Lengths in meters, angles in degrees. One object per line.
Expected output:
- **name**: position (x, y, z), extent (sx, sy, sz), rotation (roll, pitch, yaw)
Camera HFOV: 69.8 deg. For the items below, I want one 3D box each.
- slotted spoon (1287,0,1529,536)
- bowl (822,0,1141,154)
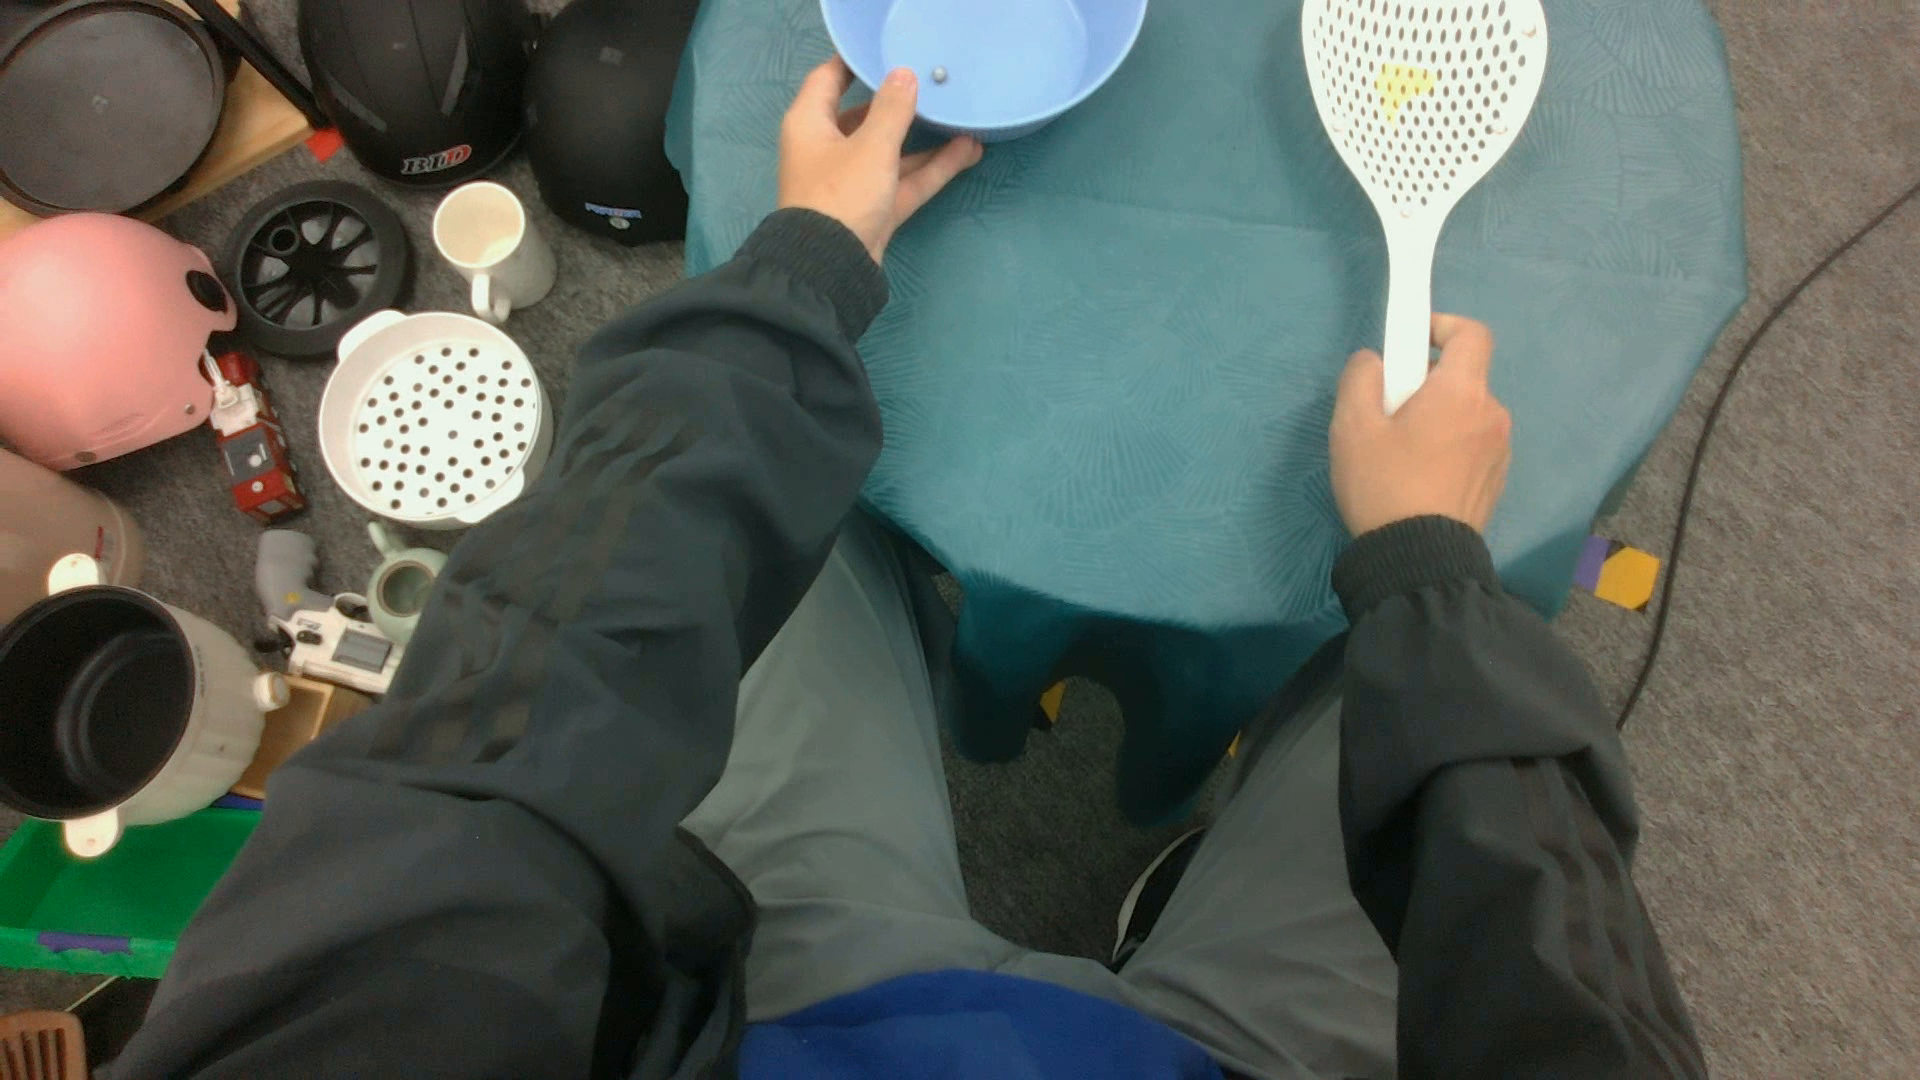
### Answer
- **slotted spoon**: position (0.241, -0.175, 0.755), extent (0.137, 0.050, 0.349), rotation (5, 72, -1)
- **bowl**: position (0.013, -0.289, 0.784), extent (0.176, 0.070, 0.176), rotation (-1, 75, 2)
